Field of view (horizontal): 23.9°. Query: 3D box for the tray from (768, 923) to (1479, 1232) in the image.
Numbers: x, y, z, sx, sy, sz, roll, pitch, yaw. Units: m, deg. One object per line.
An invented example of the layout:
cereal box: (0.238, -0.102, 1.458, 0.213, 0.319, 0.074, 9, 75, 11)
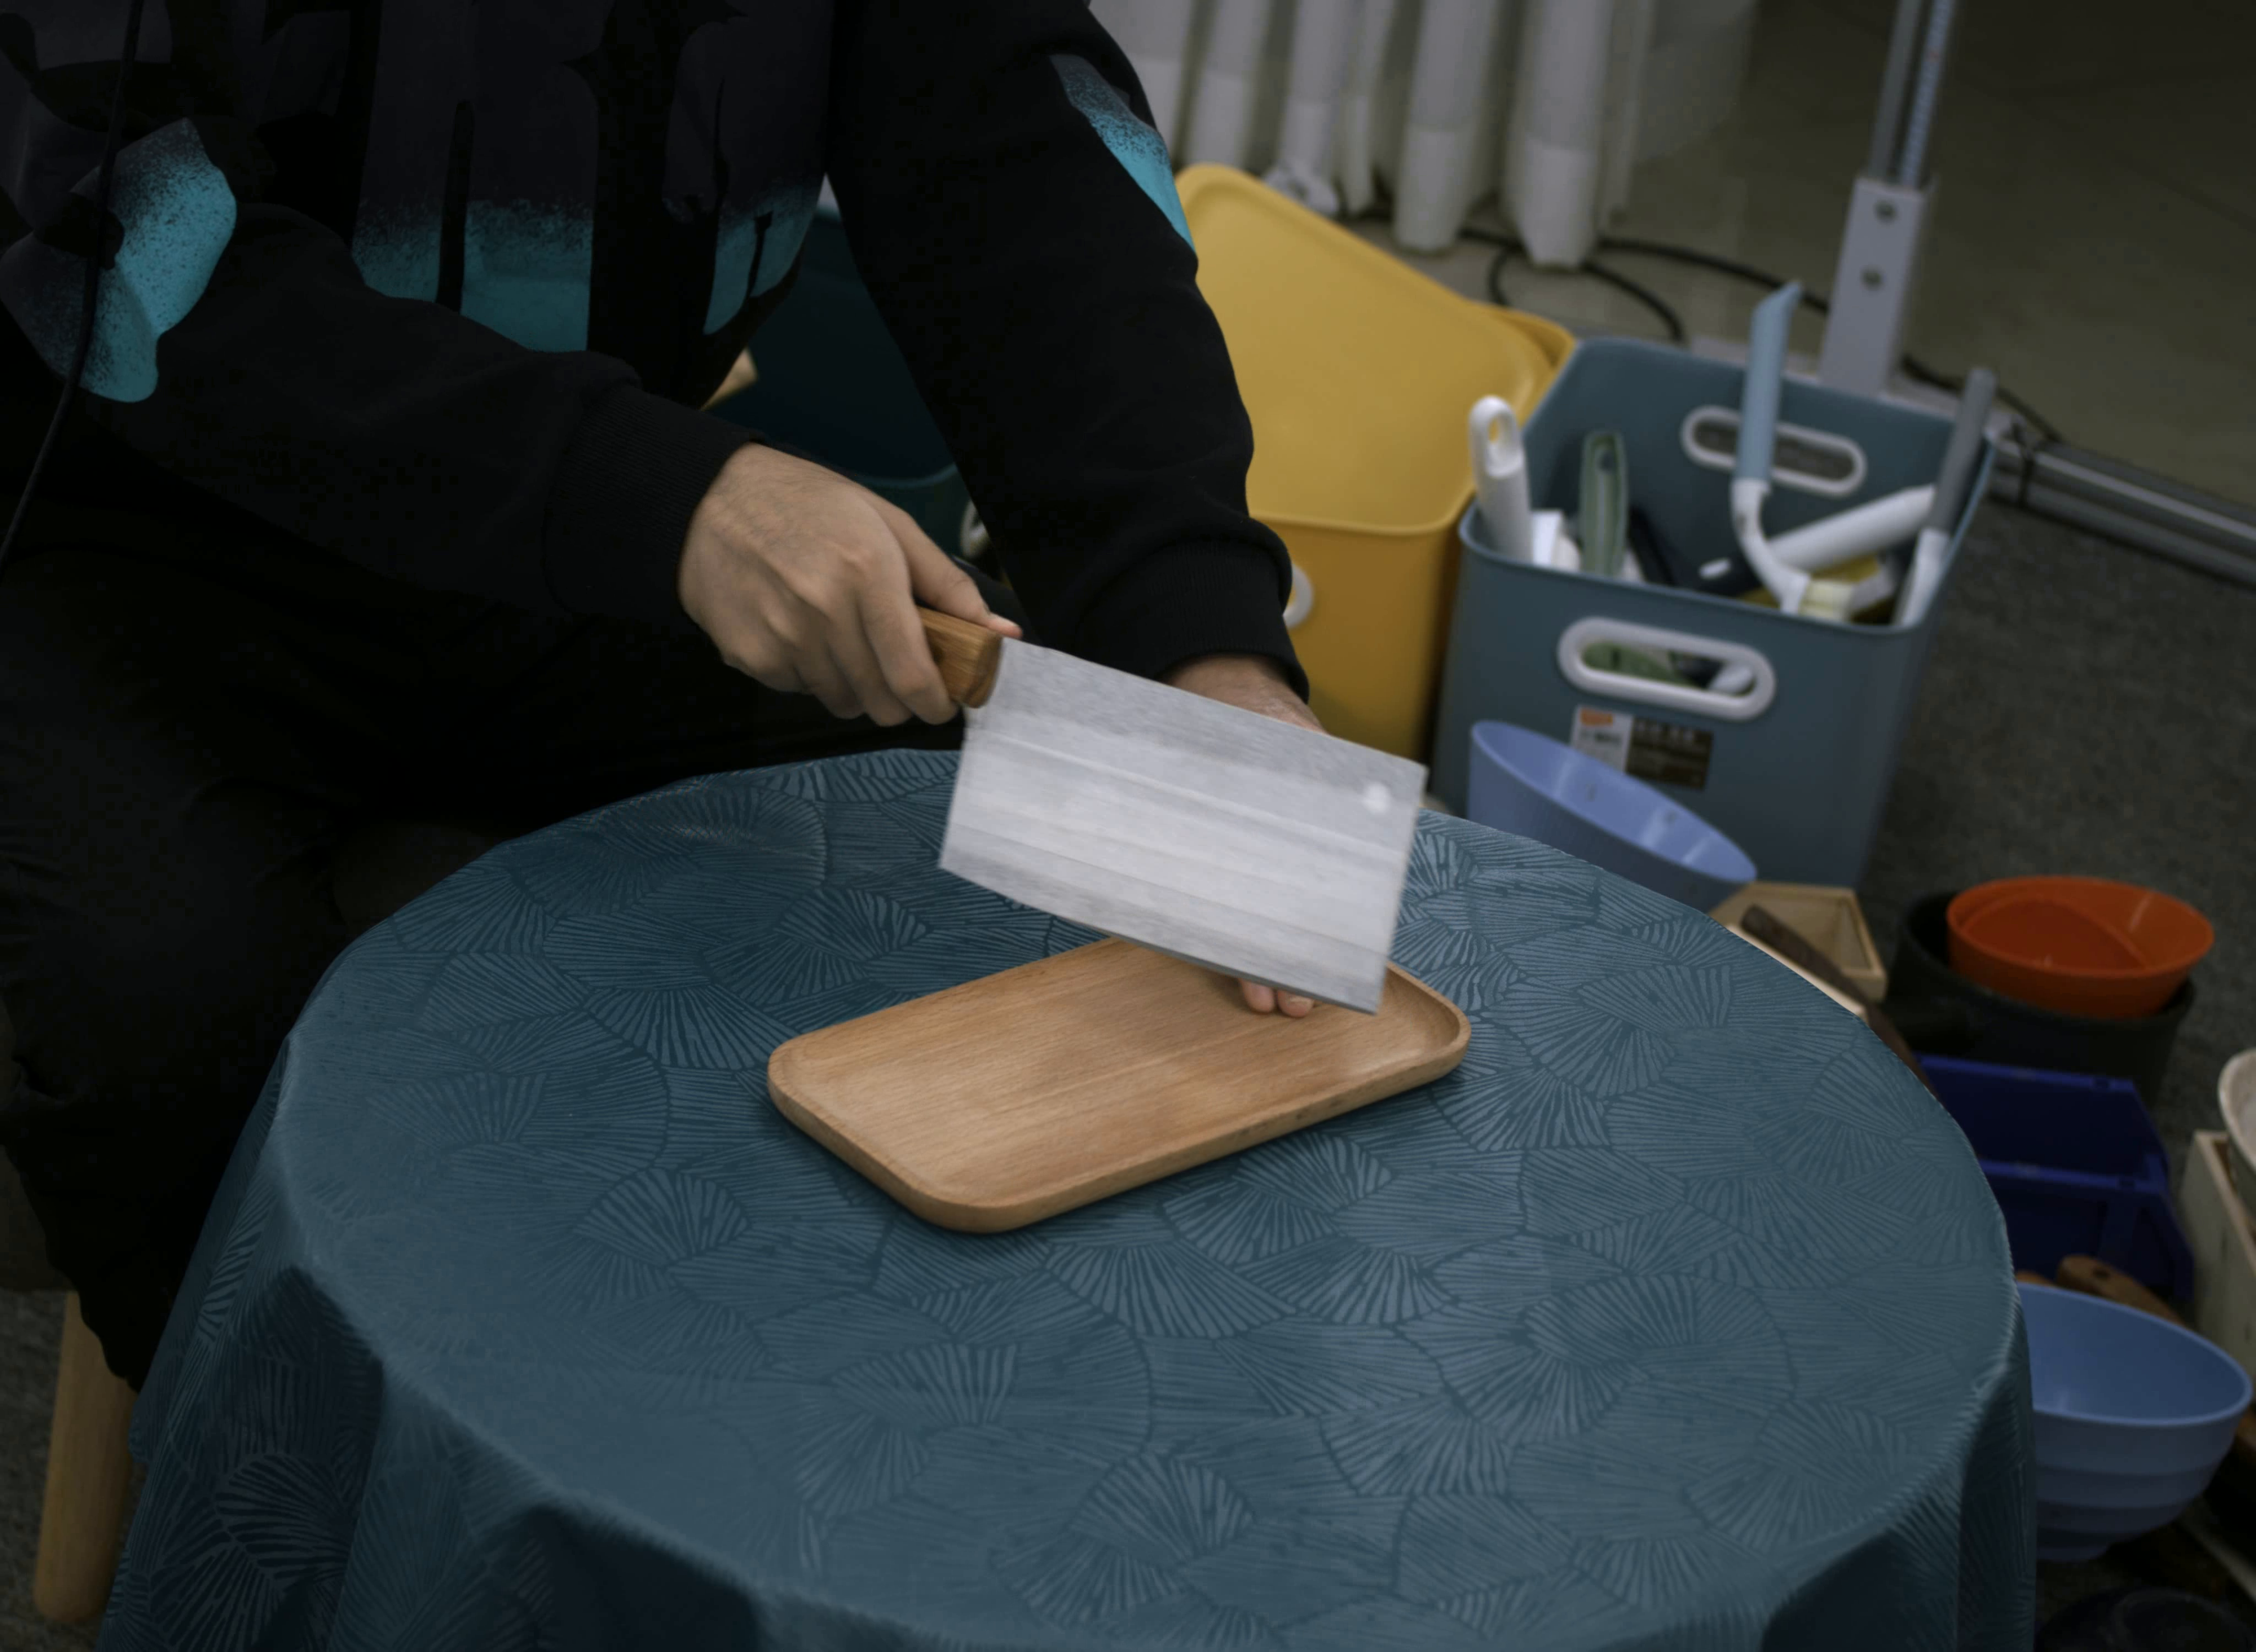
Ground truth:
tray: (0.000, 0.084, 1.864, 0.249, 0.023, 0.131, -14, 35, -37)

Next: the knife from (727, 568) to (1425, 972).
knife: (-0.026, -0.018, 1.890, 0.307, 0.093, 0.021, 19, 15, 32)
